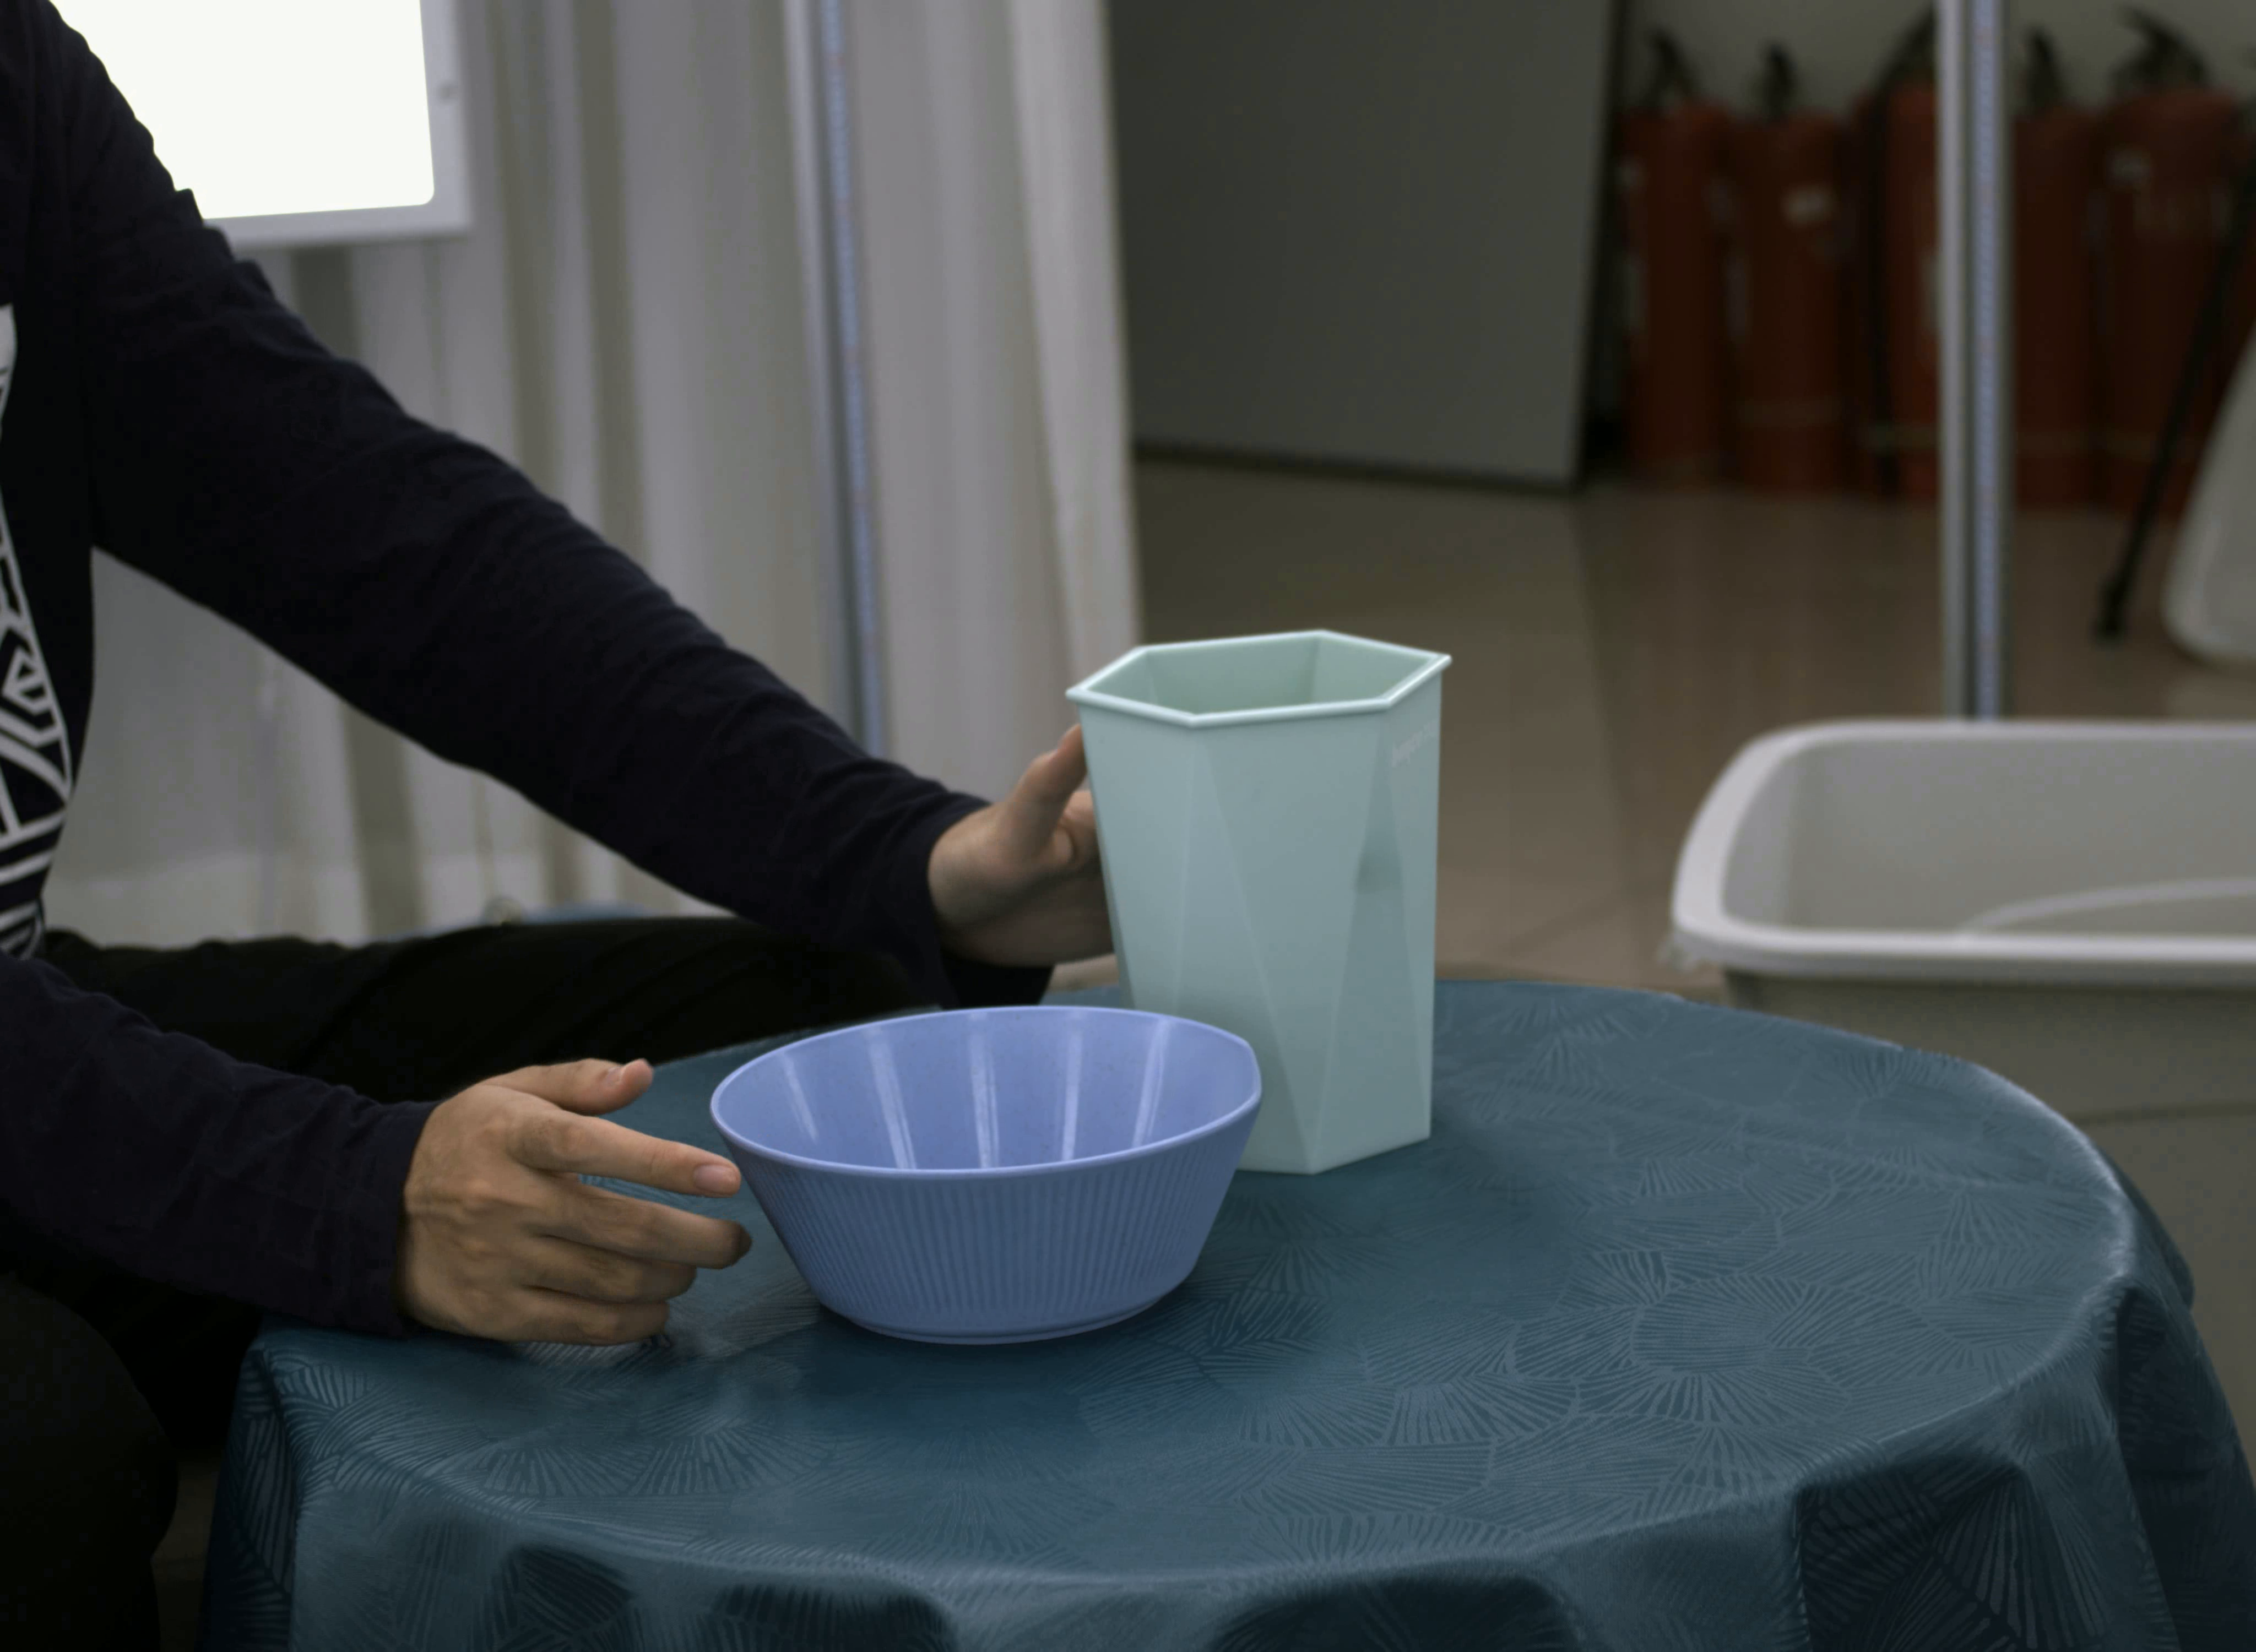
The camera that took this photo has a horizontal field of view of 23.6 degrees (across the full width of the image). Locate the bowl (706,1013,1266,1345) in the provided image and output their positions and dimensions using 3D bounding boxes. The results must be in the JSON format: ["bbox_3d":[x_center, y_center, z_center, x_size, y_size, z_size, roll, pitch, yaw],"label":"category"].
[{"bbox_3d":[-0.042,0.112,1.679,0.174,0.071,0.176,-4,13,0],"label":"bowl"}]

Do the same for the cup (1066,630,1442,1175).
[{"bbox_3d":[0.050,0.026,1.808,0.115,0.165,0.130,-1,12,20],"label":"cup"}]
